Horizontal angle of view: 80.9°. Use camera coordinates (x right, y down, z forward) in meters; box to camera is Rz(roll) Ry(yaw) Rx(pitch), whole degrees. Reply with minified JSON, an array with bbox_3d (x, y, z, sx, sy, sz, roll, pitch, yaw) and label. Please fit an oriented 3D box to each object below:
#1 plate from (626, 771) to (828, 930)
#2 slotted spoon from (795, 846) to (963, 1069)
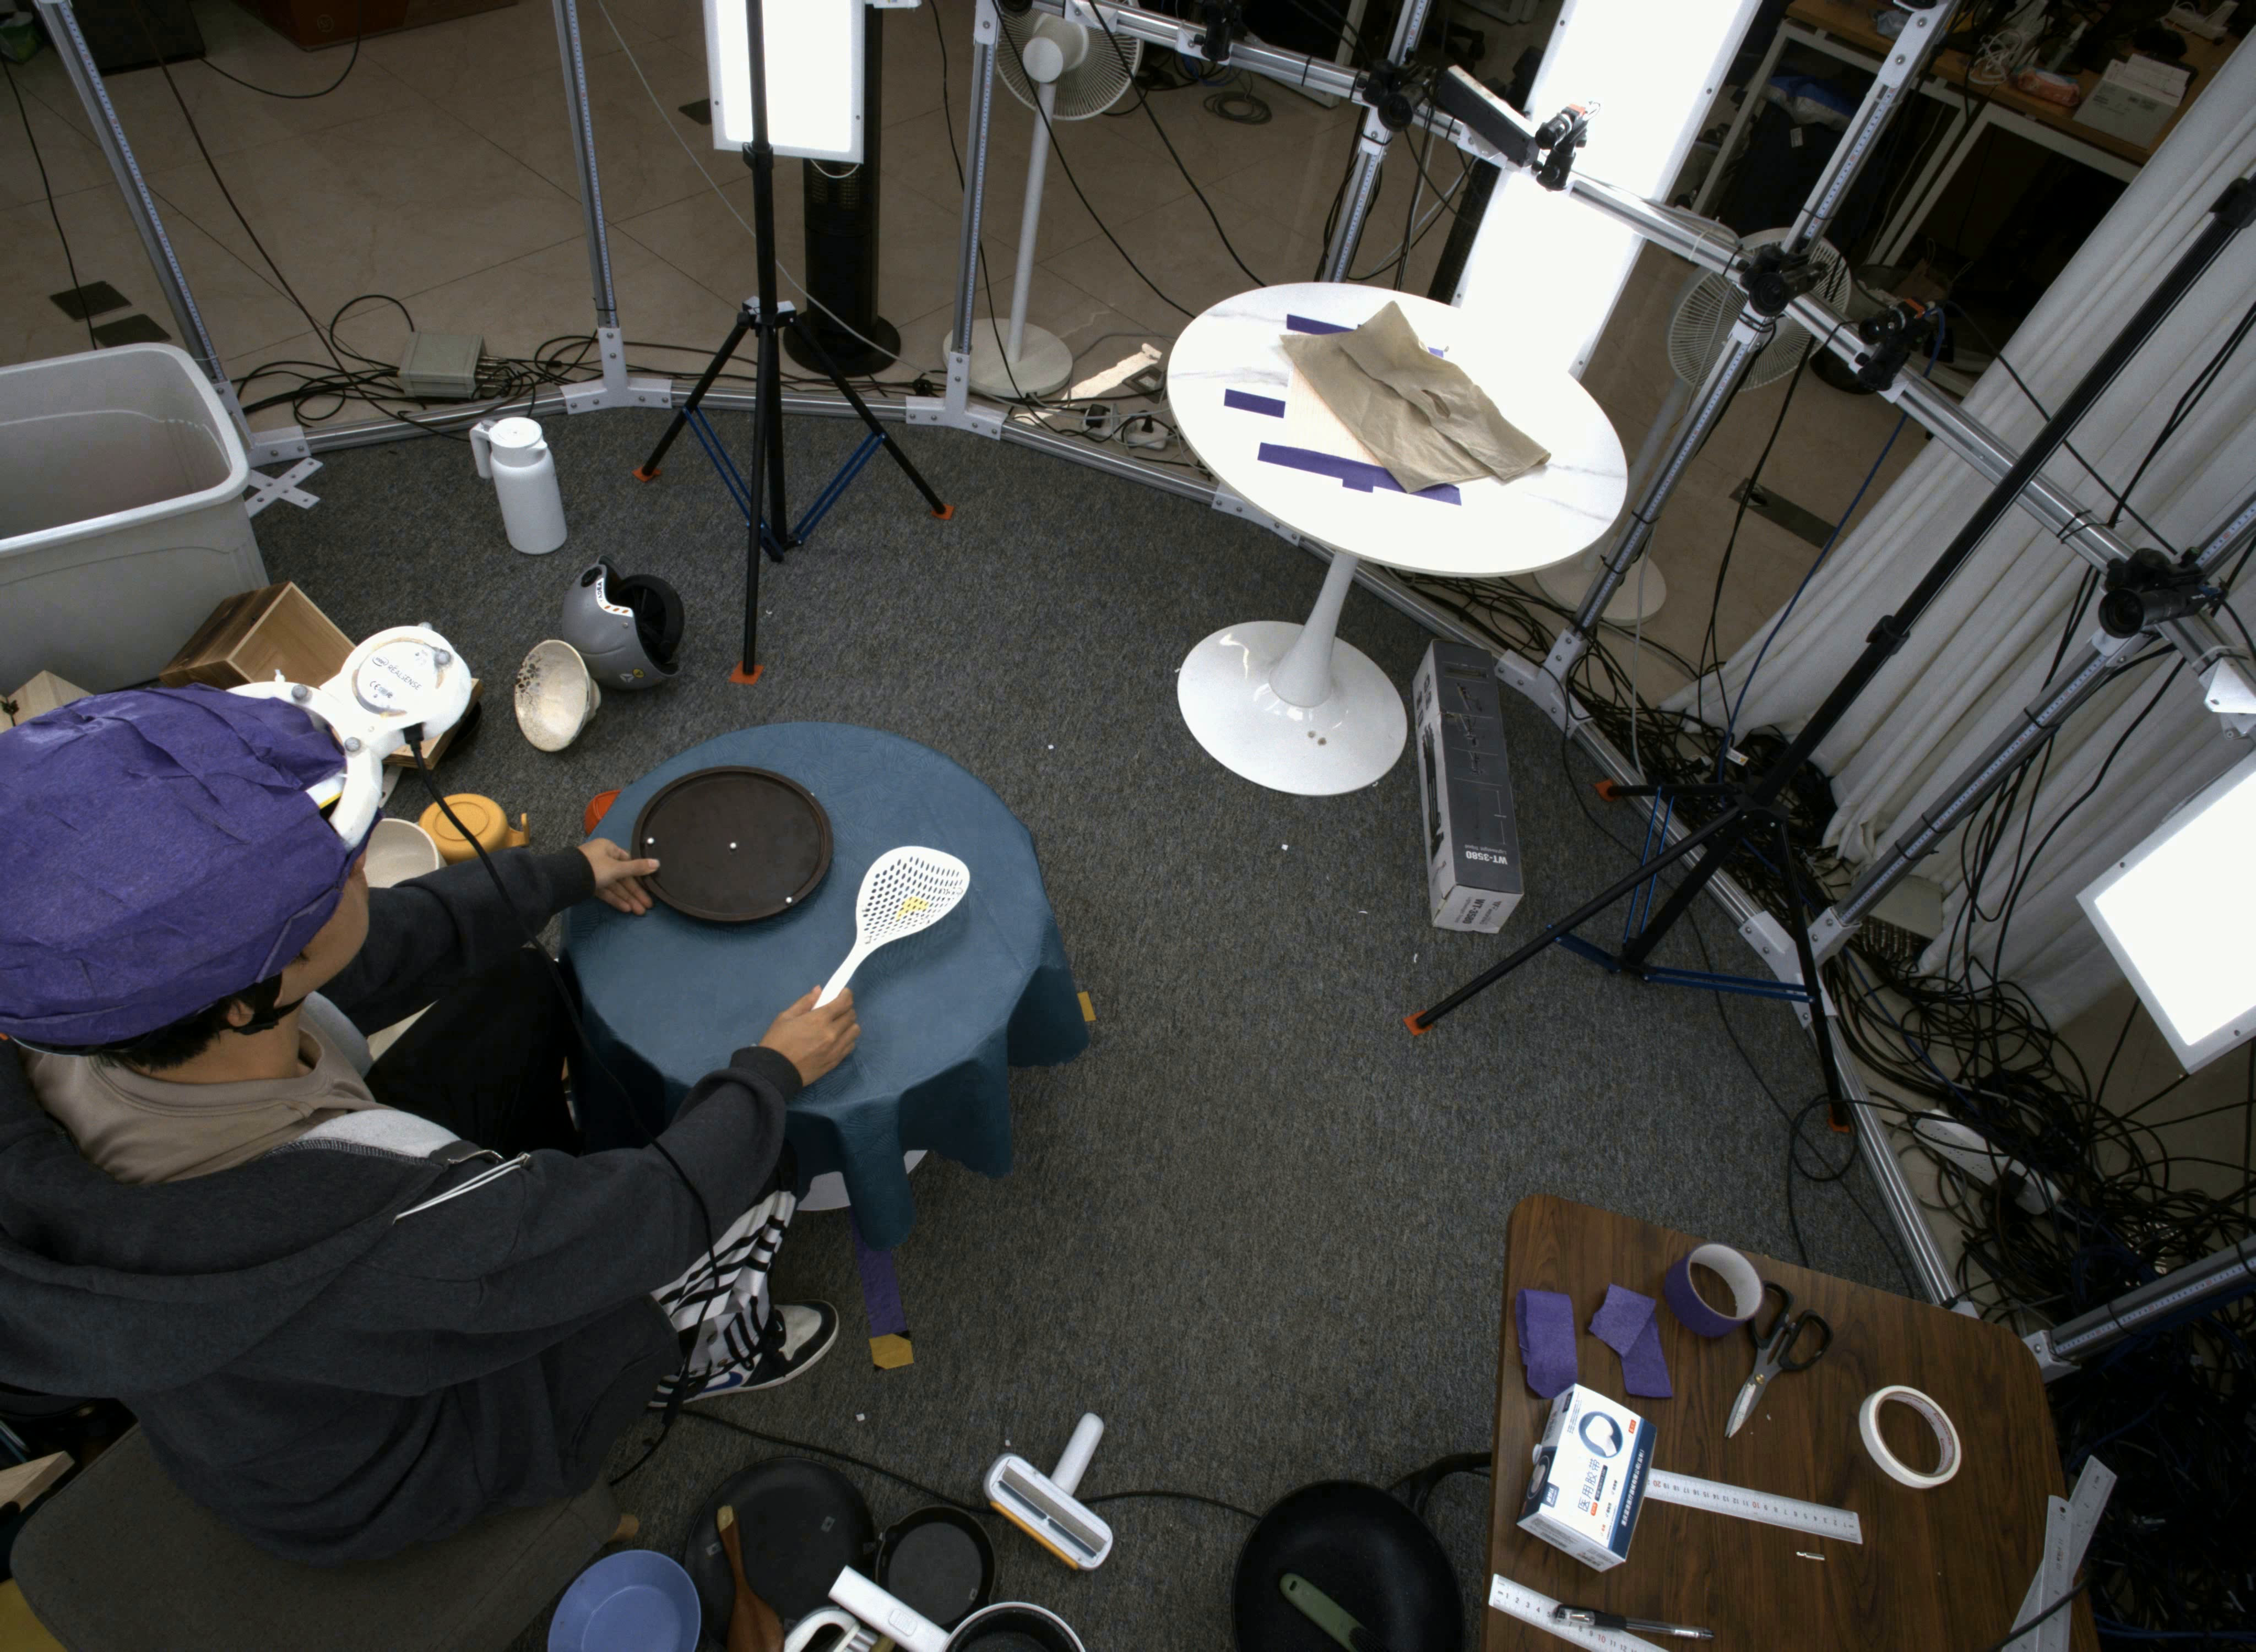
[{"bbox_3d":[-0.515,0.028,1.663,0.255,0.029,0.250,10,51,-11],"label":"plate"},{"bbox_3d":[-0.321,0.152,1.596,0.133,0.052,0.345,17,43,14],"label":"slotted spoon"}]
